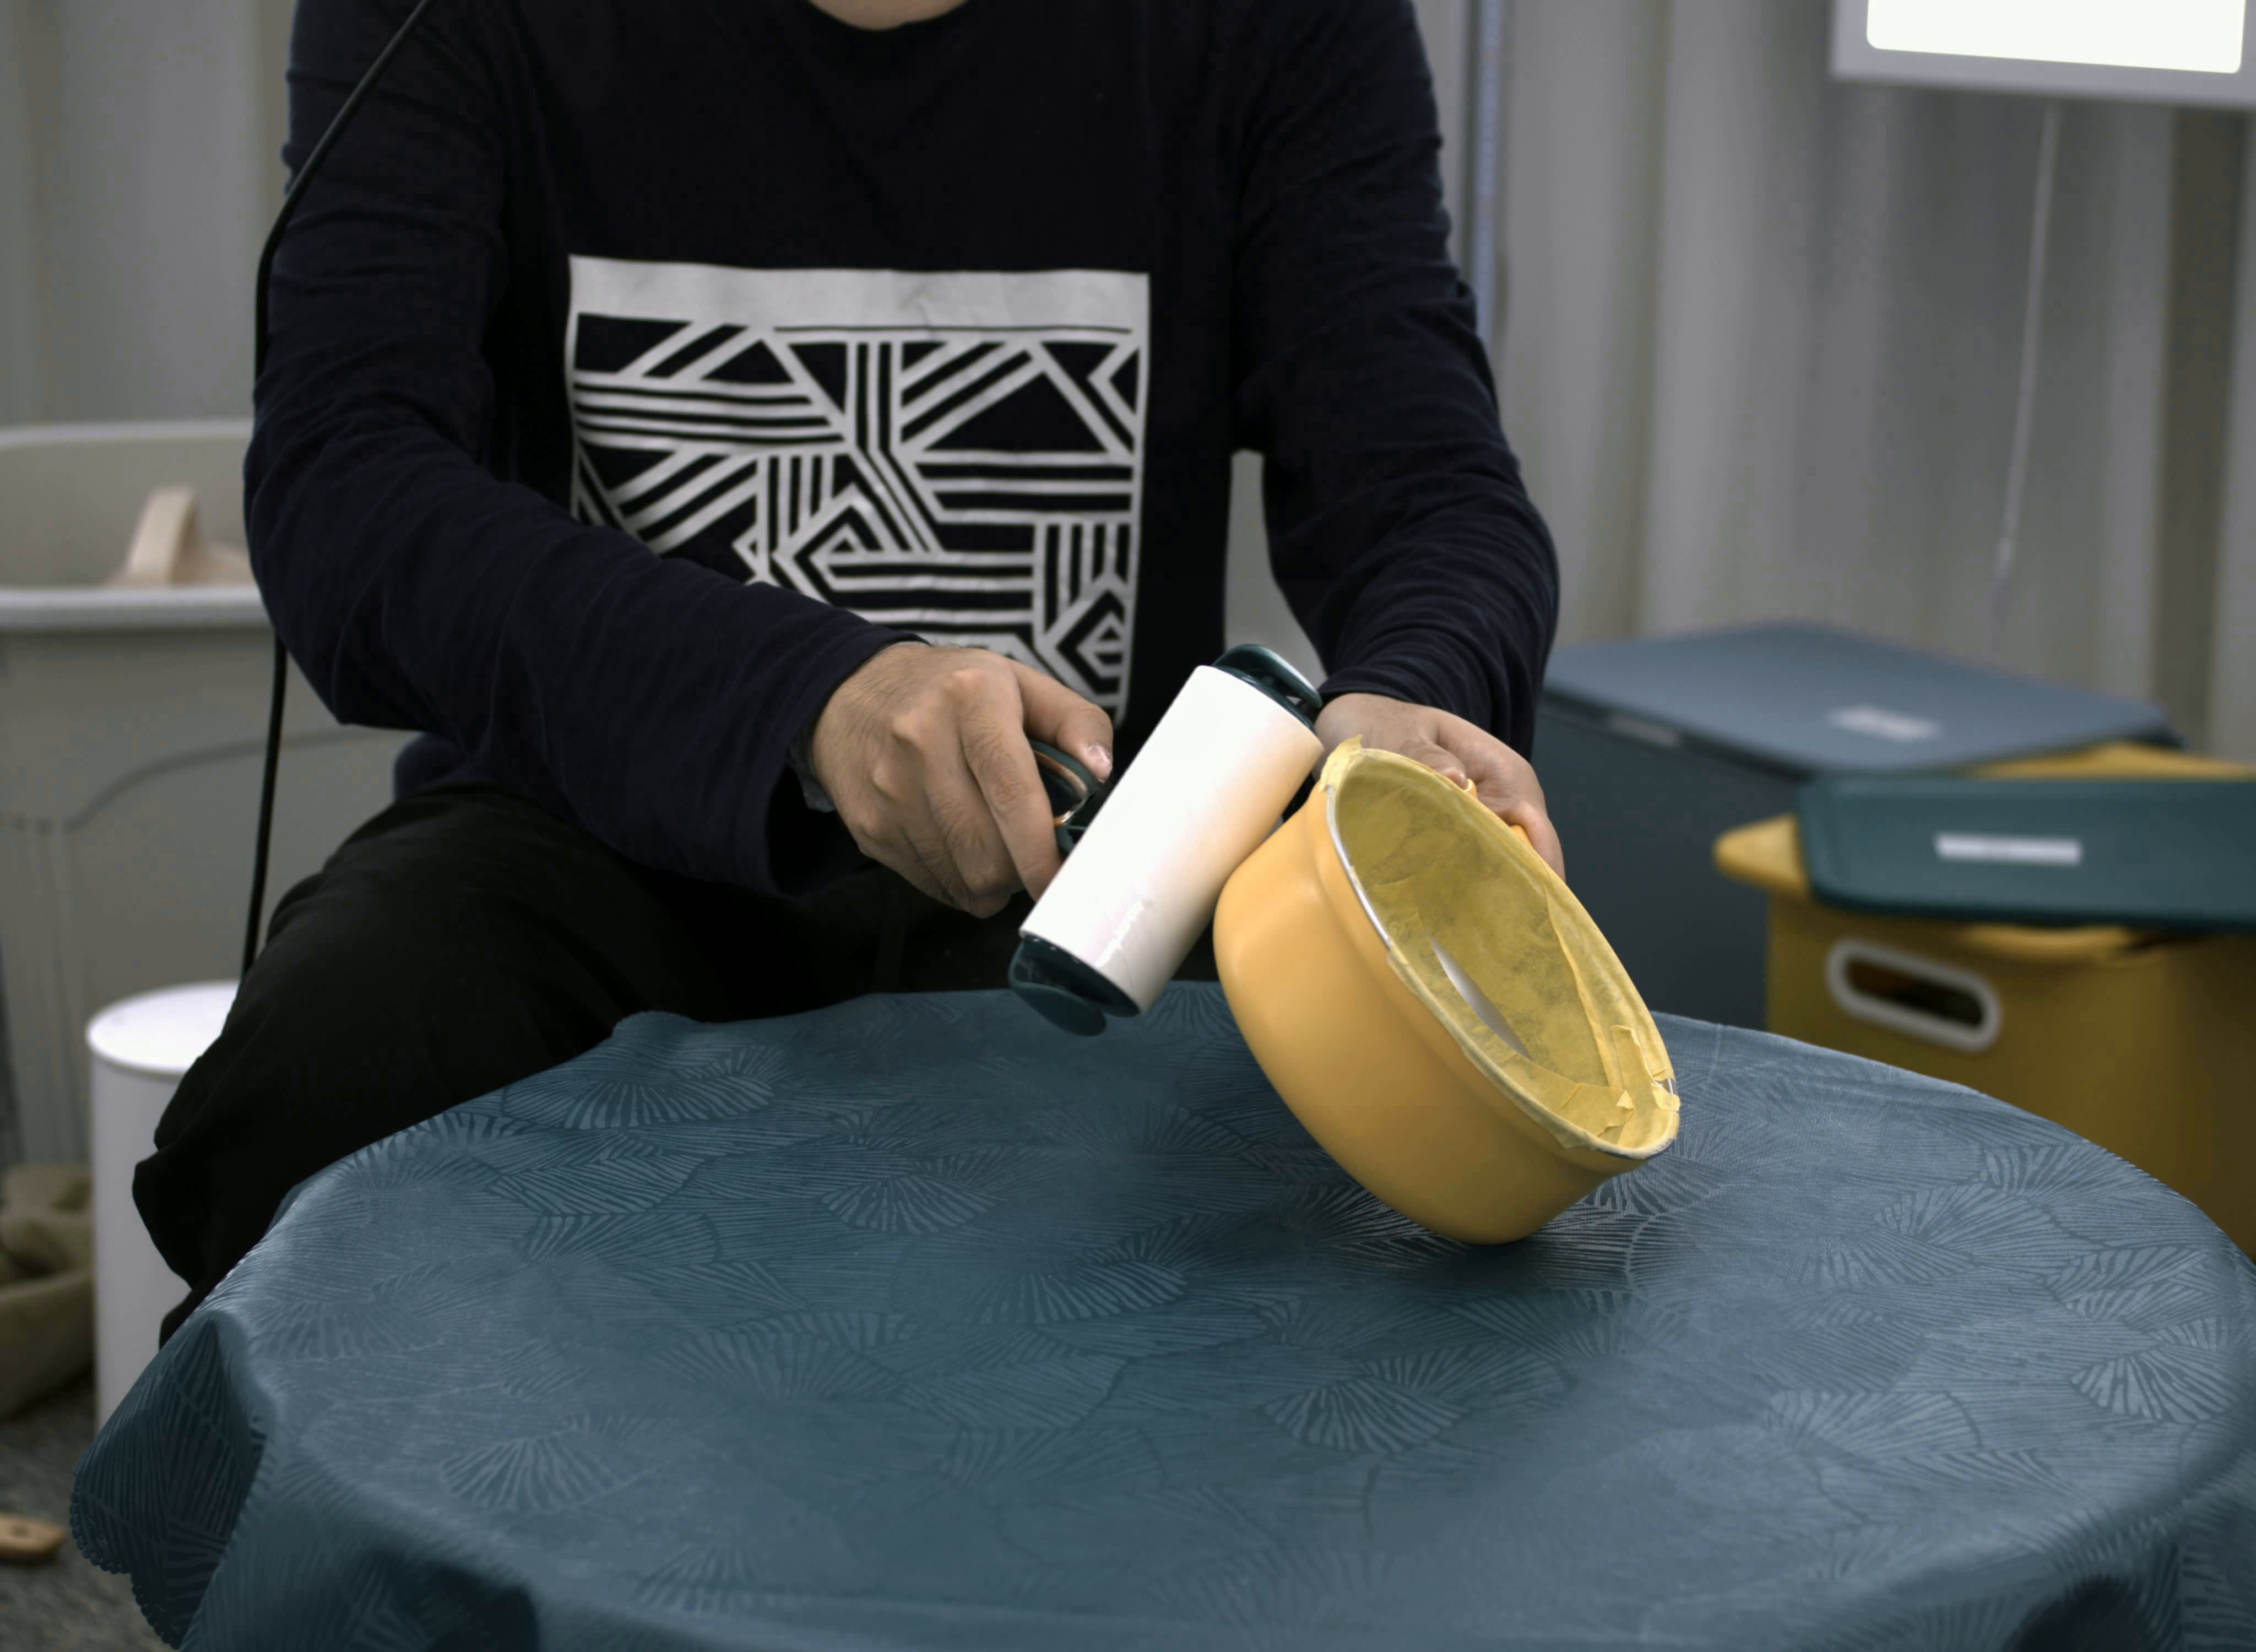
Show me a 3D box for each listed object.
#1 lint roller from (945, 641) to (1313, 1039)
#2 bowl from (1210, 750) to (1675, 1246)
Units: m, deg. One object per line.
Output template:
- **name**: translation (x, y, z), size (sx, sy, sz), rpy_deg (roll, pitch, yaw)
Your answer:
- **lint roller**: translation (-0.023, -0.006, 1.653), size (0.049, 0.134, 0.178), rpy_deg (40, -12, -31)
- **bowl**: translation (0.091, 0.050, 1.596), size (0.154, 0.074, 0.177), rpy_deg (37, 25, -22)
